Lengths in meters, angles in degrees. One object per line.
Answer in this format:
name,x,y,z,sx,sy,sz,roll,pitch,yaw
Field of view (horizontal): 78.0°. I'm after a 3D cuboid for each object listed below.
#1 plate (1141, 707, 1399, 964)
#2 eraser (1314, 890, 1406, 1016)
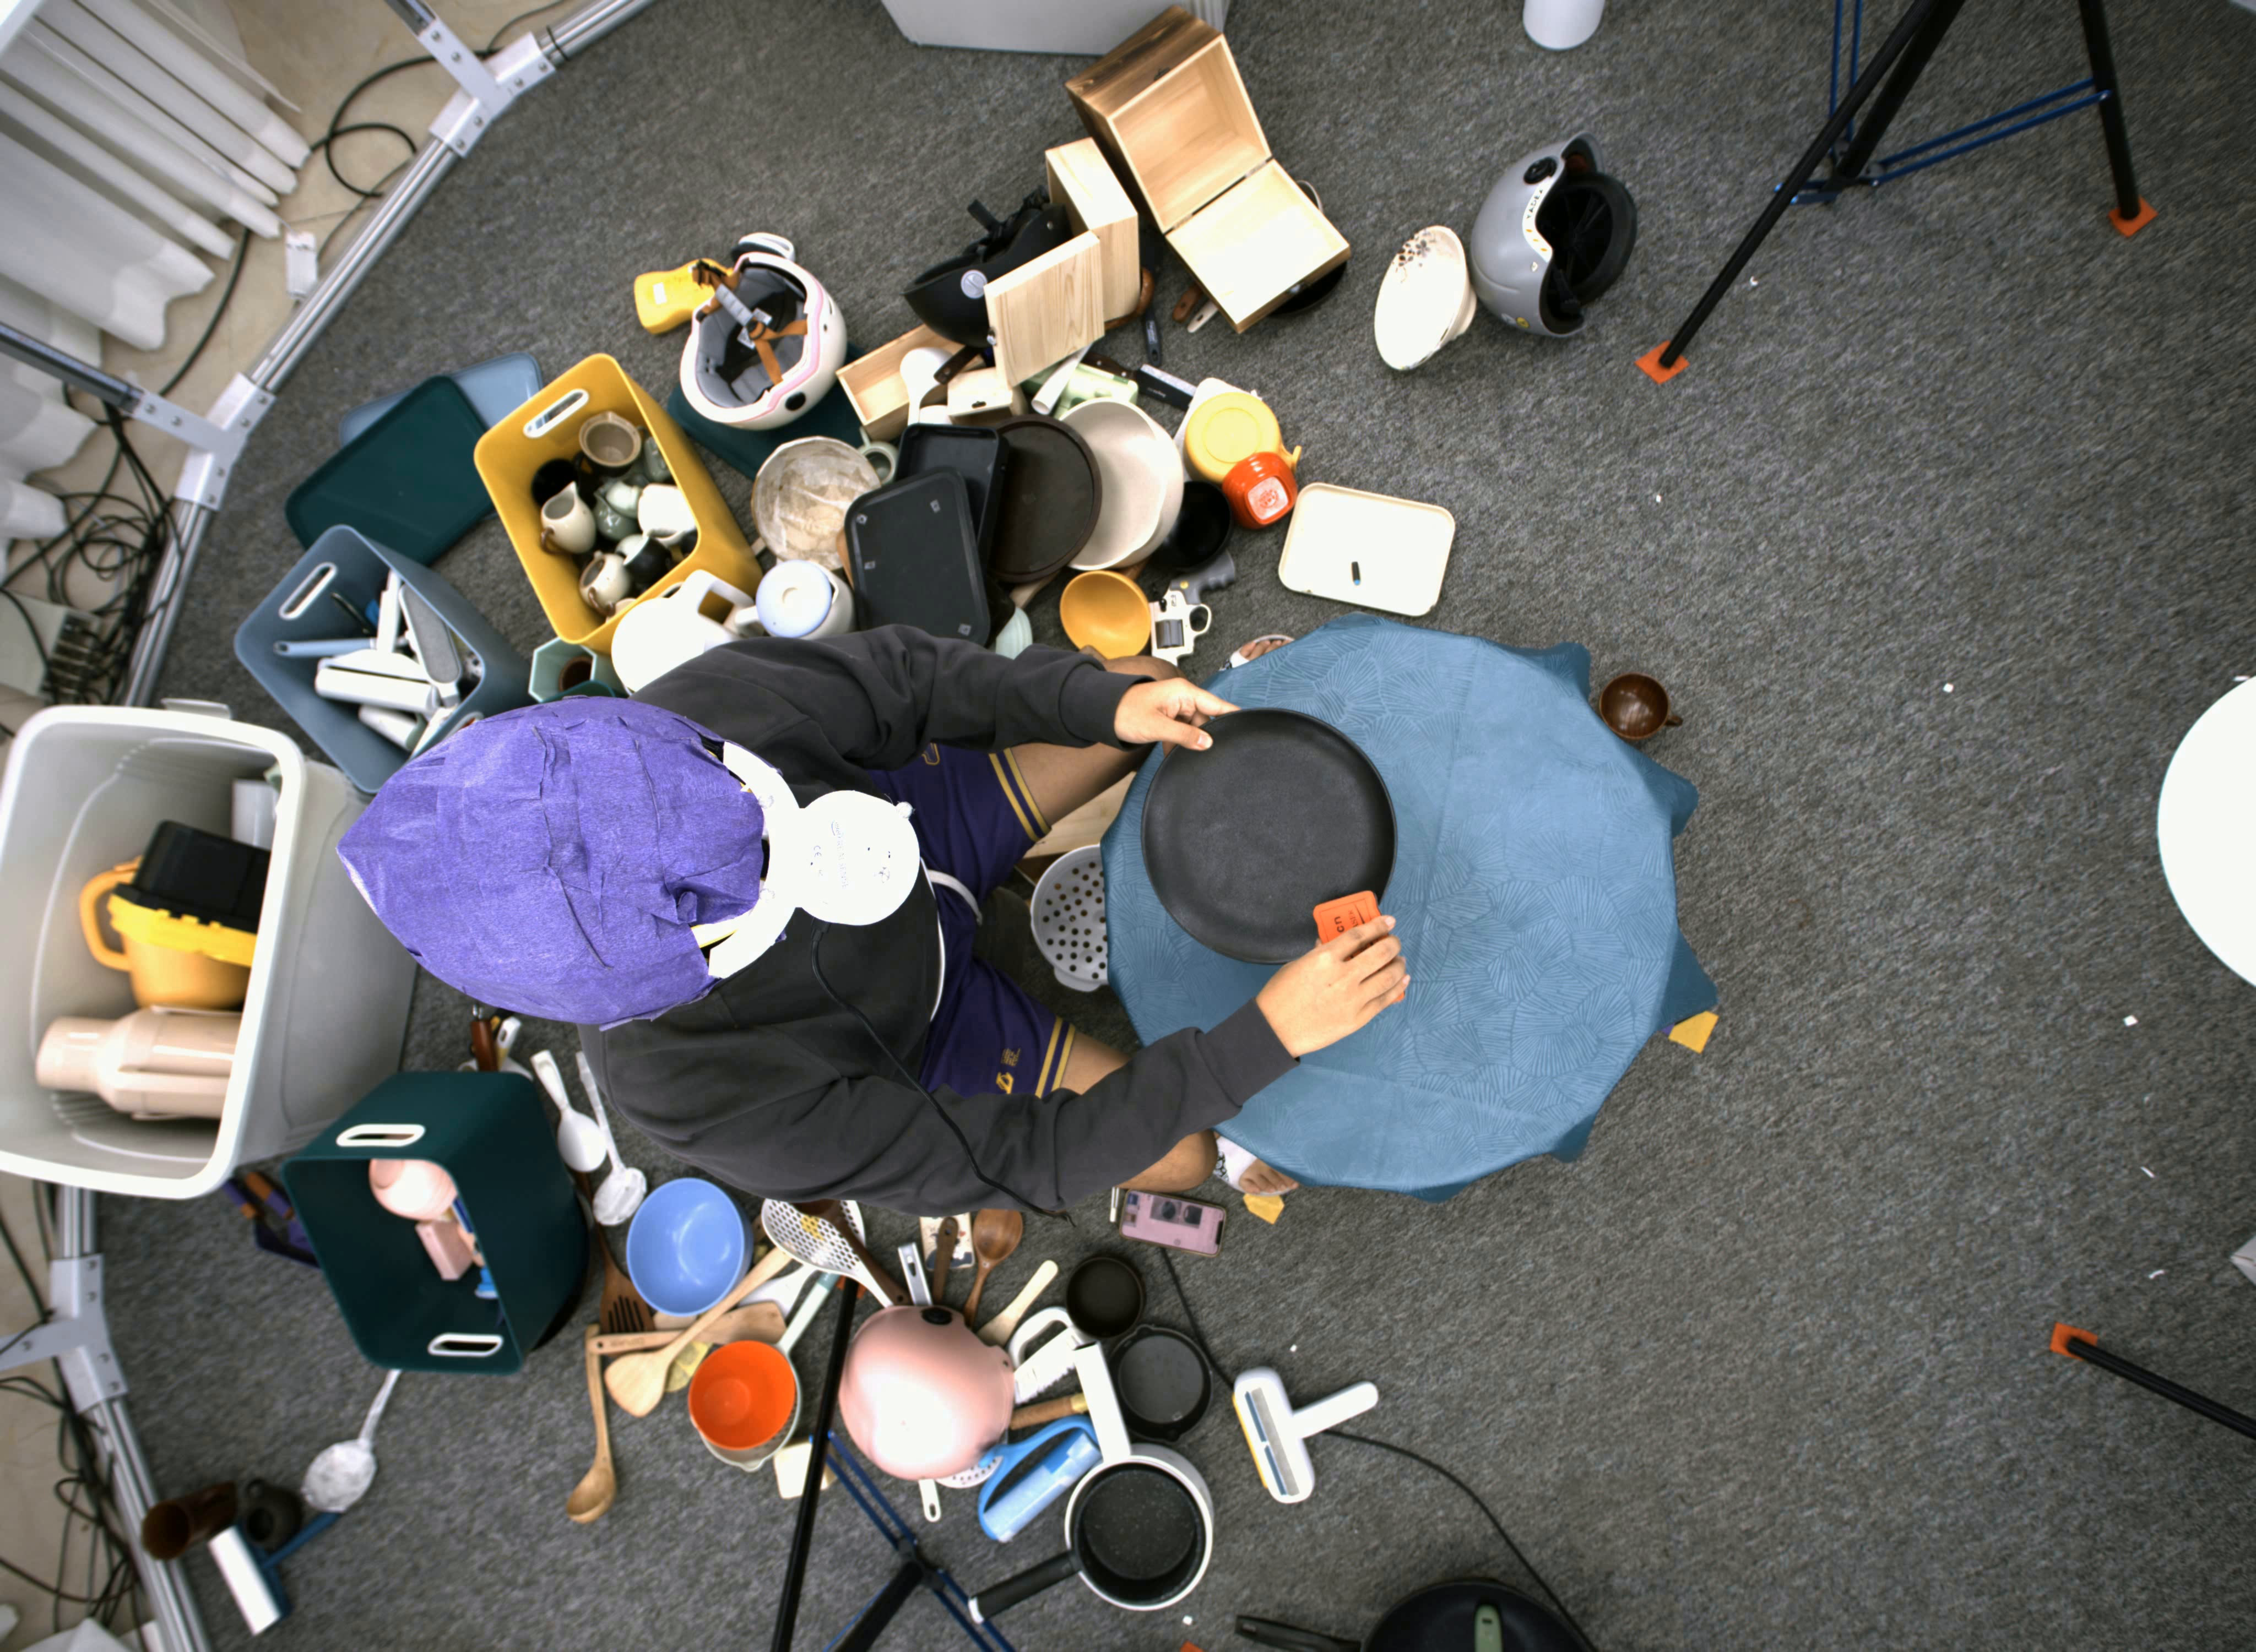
plate,0.131,0.008,1.299,0.245,0.023,0.246,3,101,16
eraser,0.212,0.115,1.266,0.059,0.022,0.108,-17,88,22
